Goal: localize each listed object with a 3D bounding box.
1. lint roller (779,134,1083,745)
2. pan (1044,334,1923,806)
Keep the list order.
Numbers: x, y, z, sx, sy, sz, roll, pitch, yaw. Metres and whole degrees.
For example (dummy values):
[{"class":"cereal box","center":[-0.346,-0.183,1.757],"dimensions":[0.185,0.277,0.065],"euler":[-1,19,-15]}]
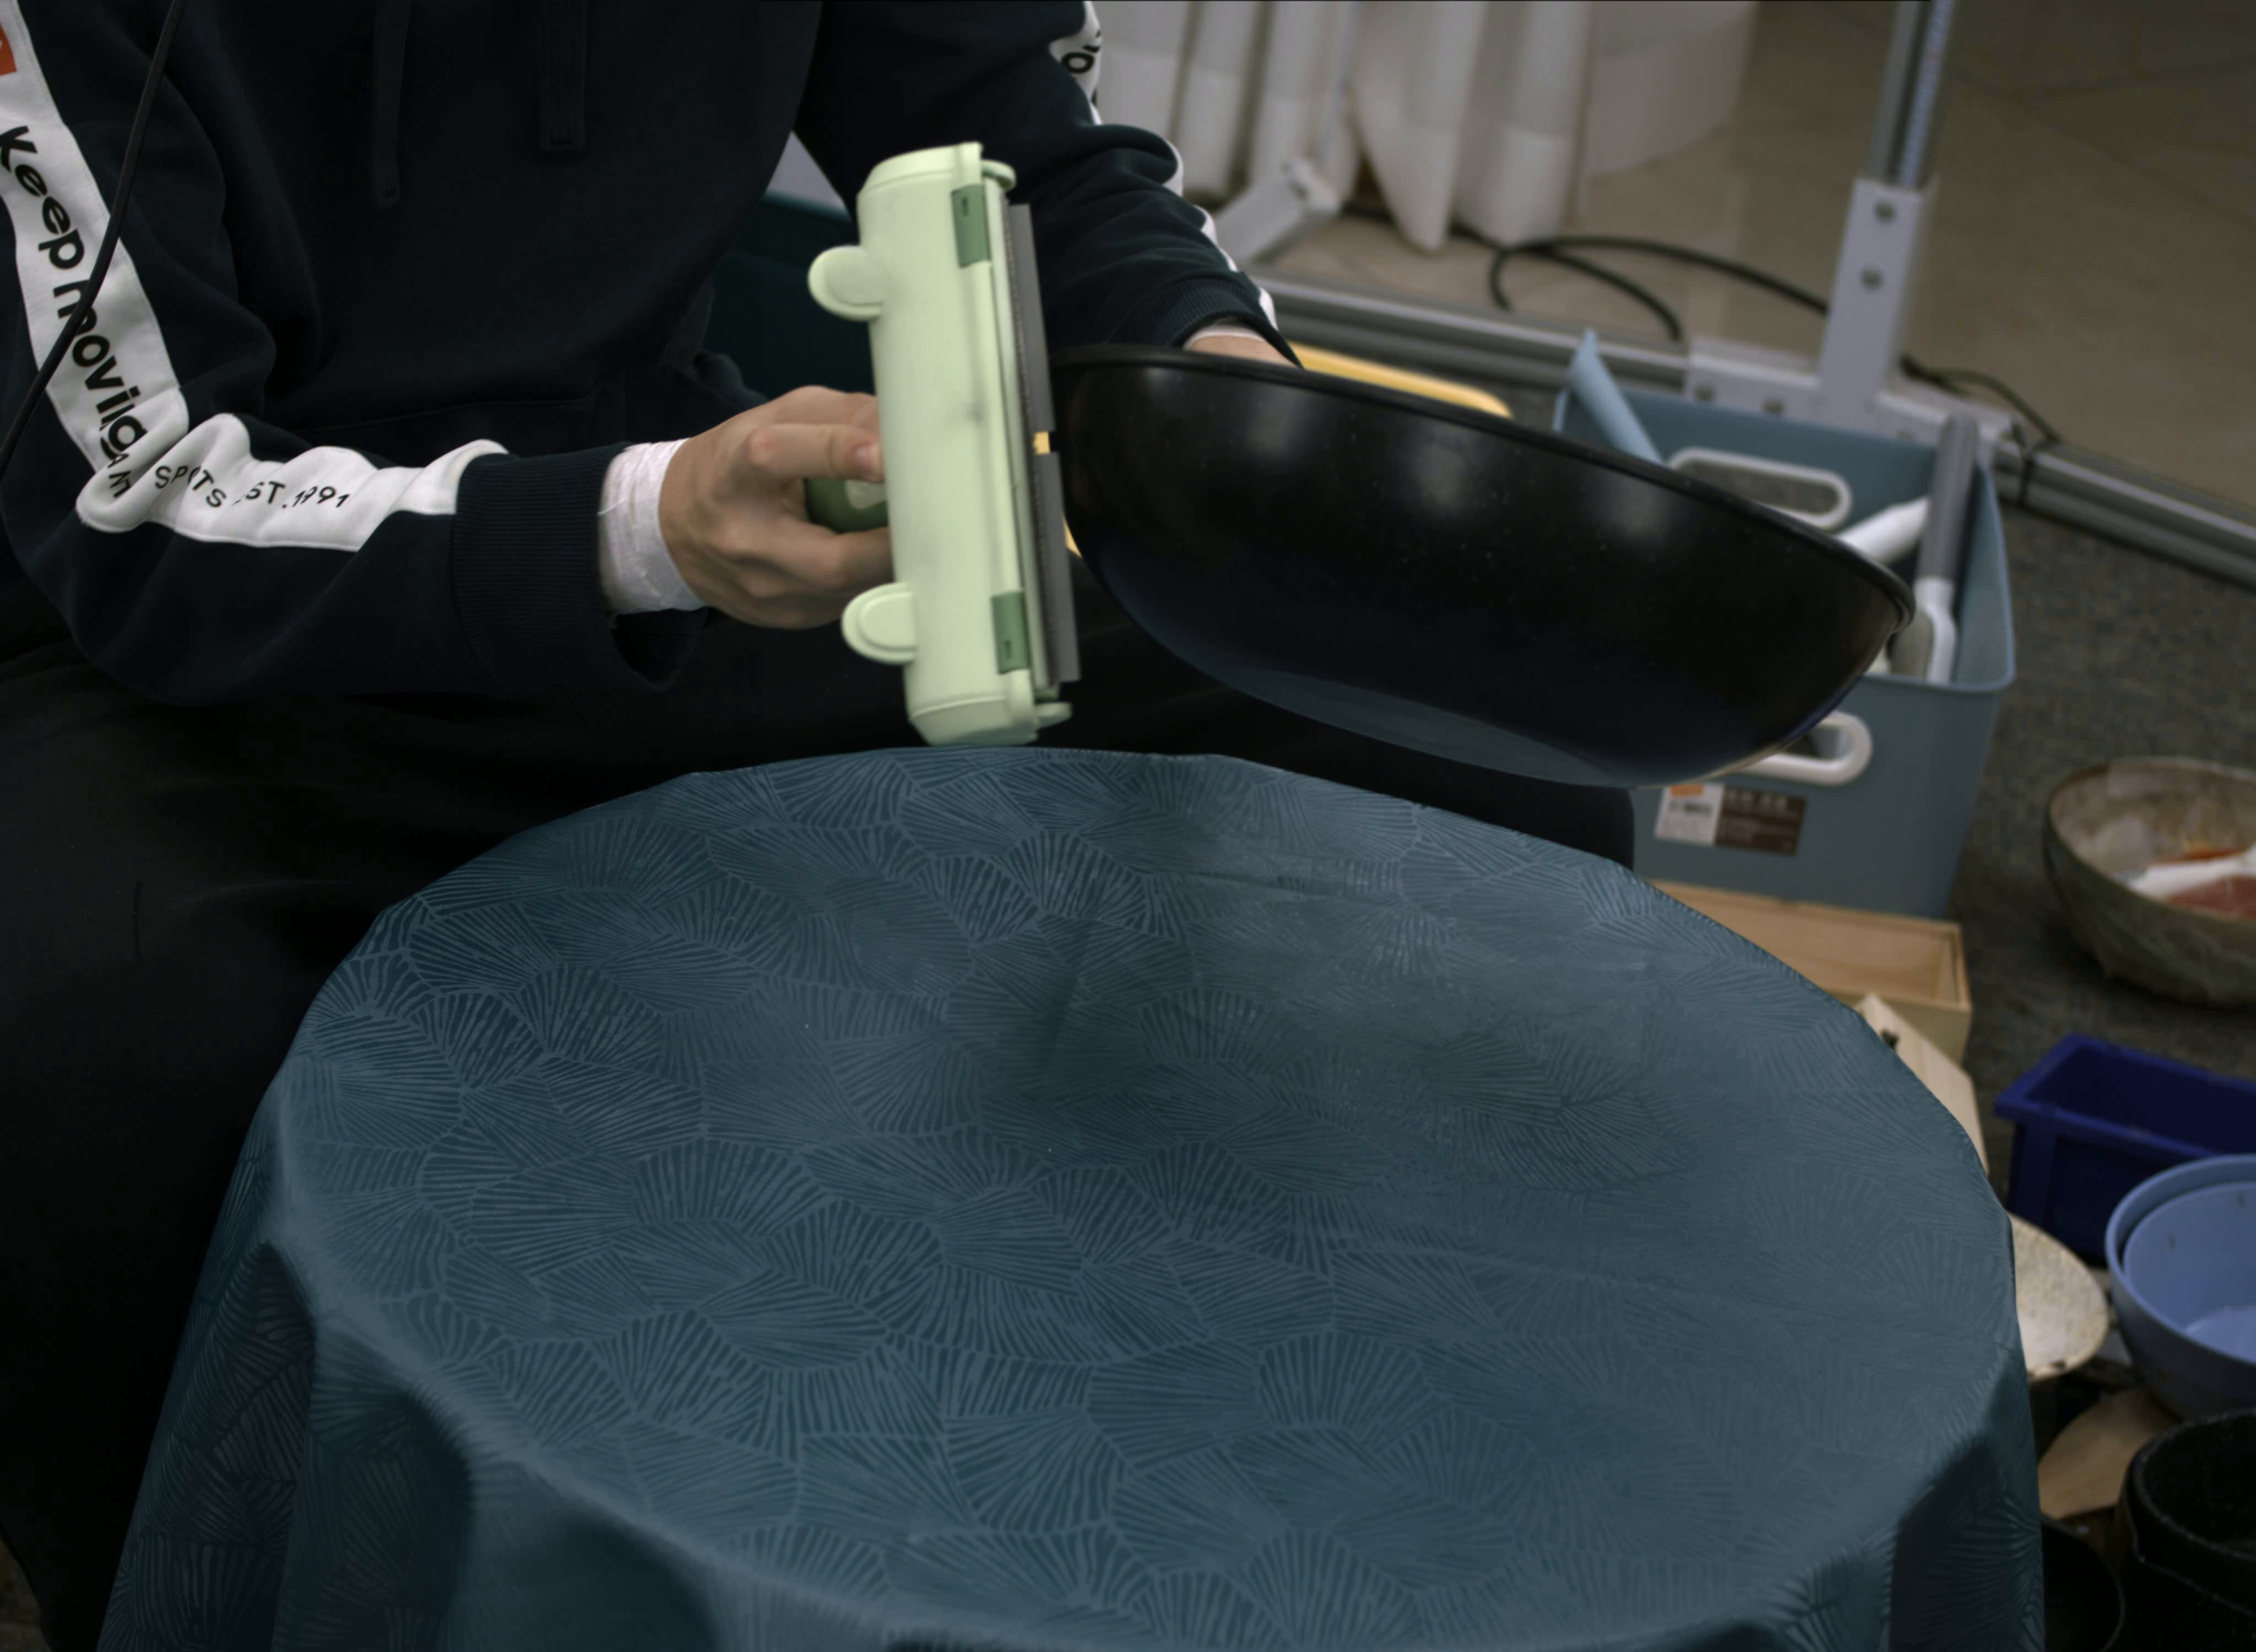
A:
[{"class":"lint roller","center":[-0.090,-0.118,1.799],"dimensions":[0.081,0.199,0.184],"euler":[-1,-9,-36]},{"class":"pan","center":[0.089,-0.083,1.879],"dimensions":[0.308,0.112,0.478],"euler":[19,-5,-14]}]
